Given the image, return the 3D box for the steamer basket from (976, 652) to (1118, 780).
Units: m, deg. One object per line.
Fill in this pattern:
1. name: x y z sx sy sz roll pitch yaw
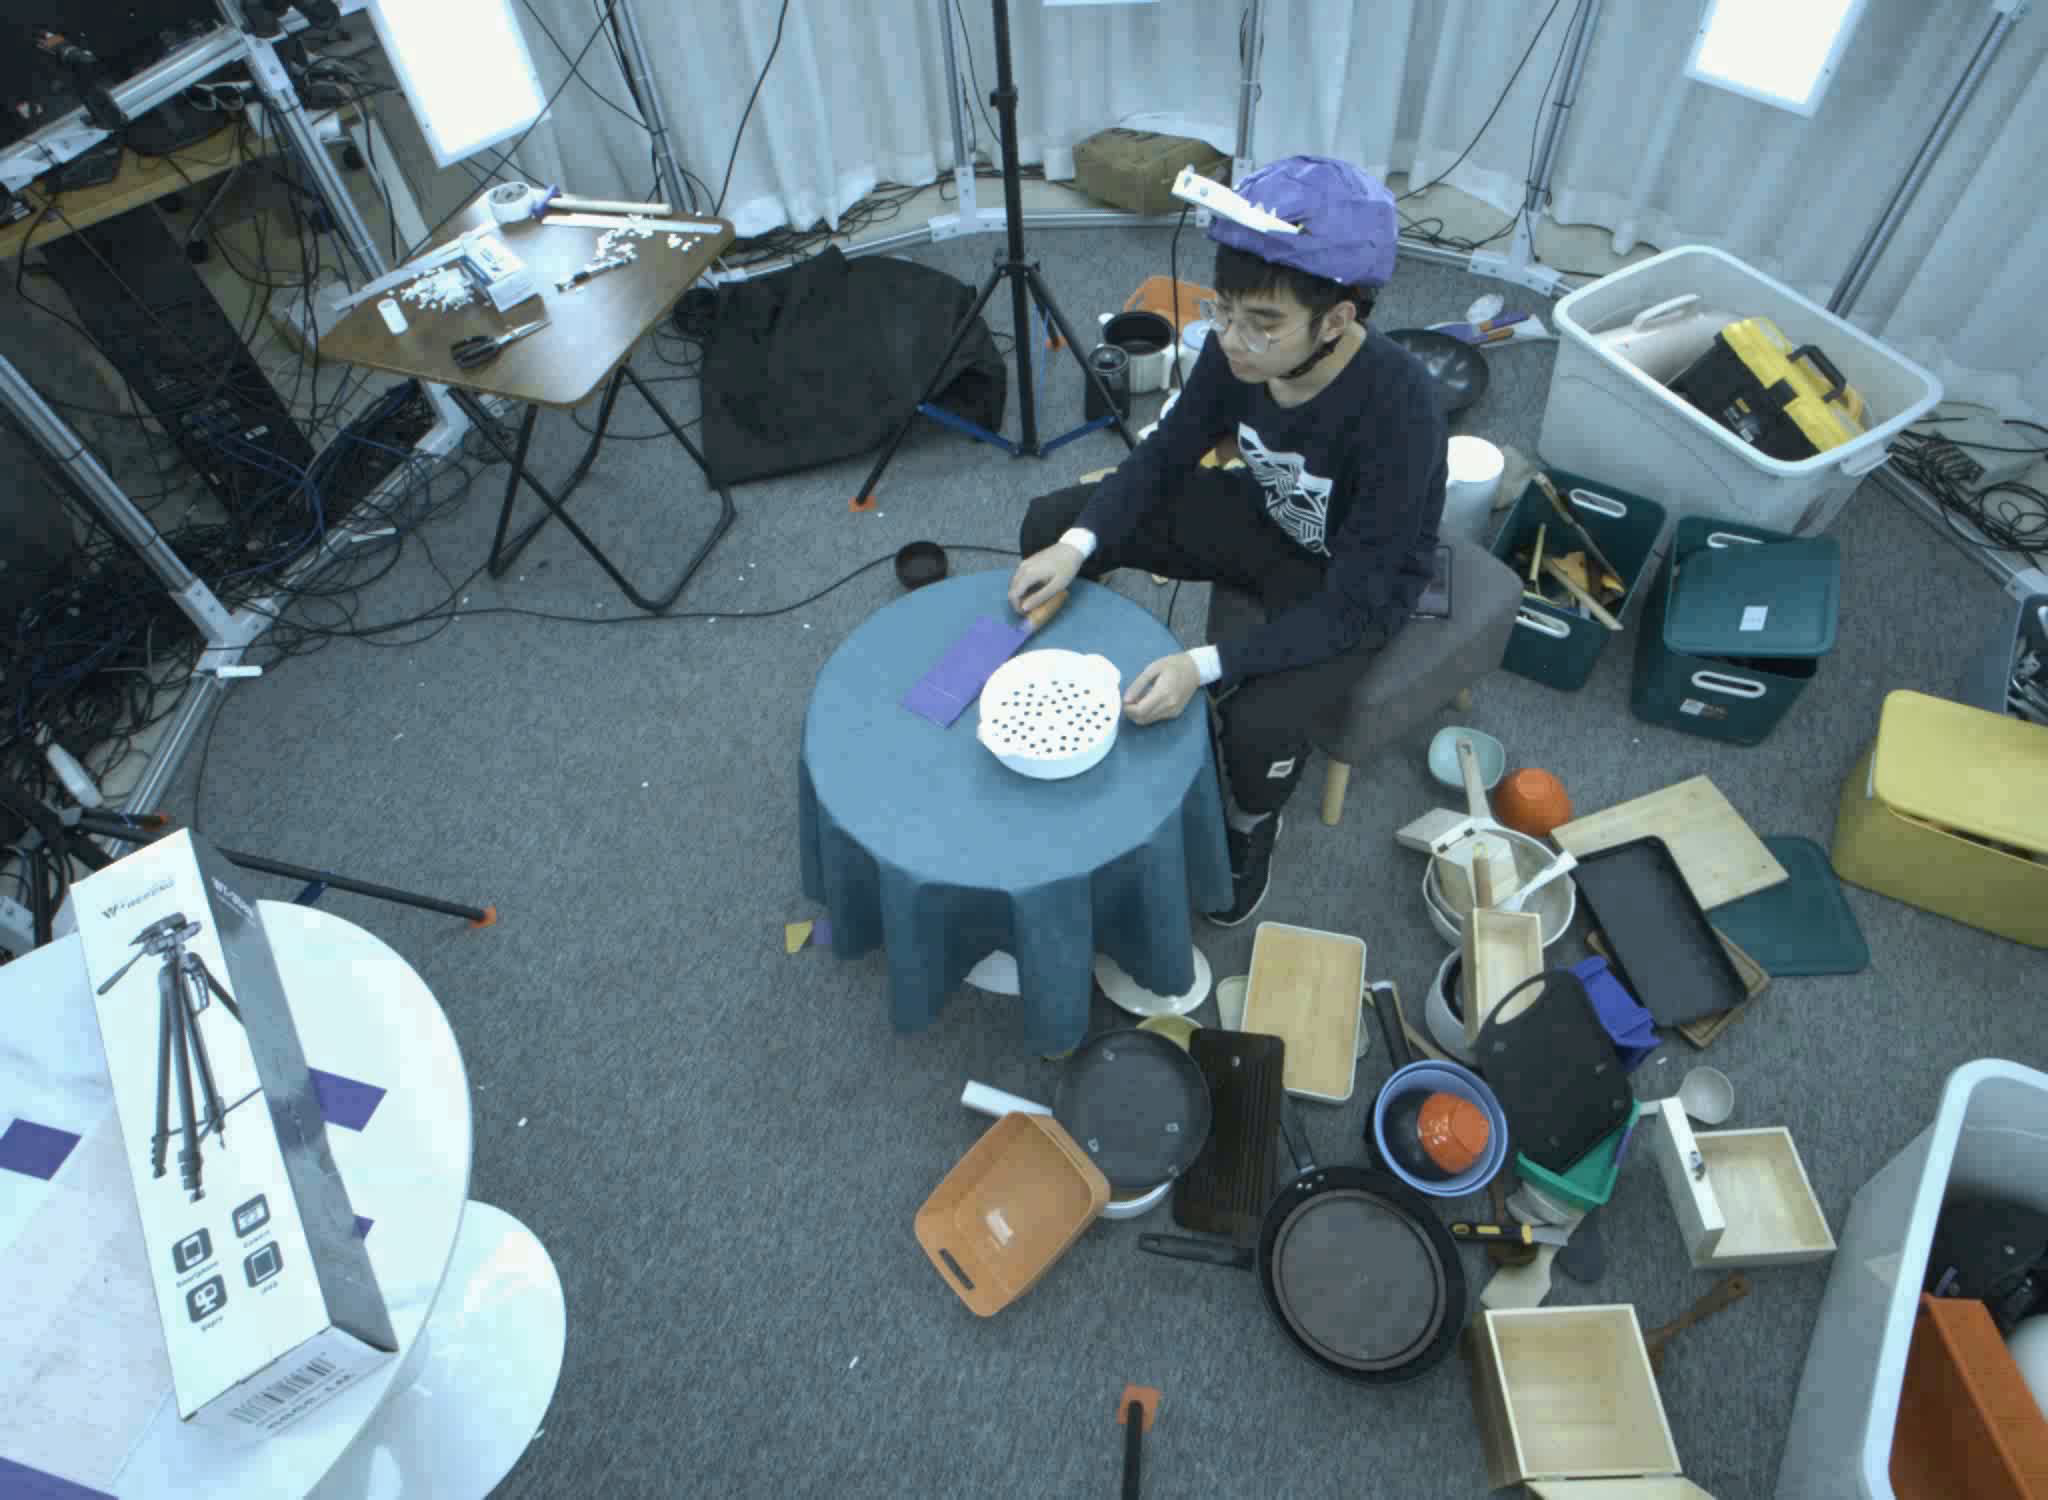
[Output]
1. steamer basket: 0.034 -0.048 1.788 0.233 0.070 0.198 -32 60 -23

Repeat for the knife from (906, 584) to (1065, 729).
1. knife: -0.060 -0.161 1.895 0.102 0.032 0.316 29 61 20
